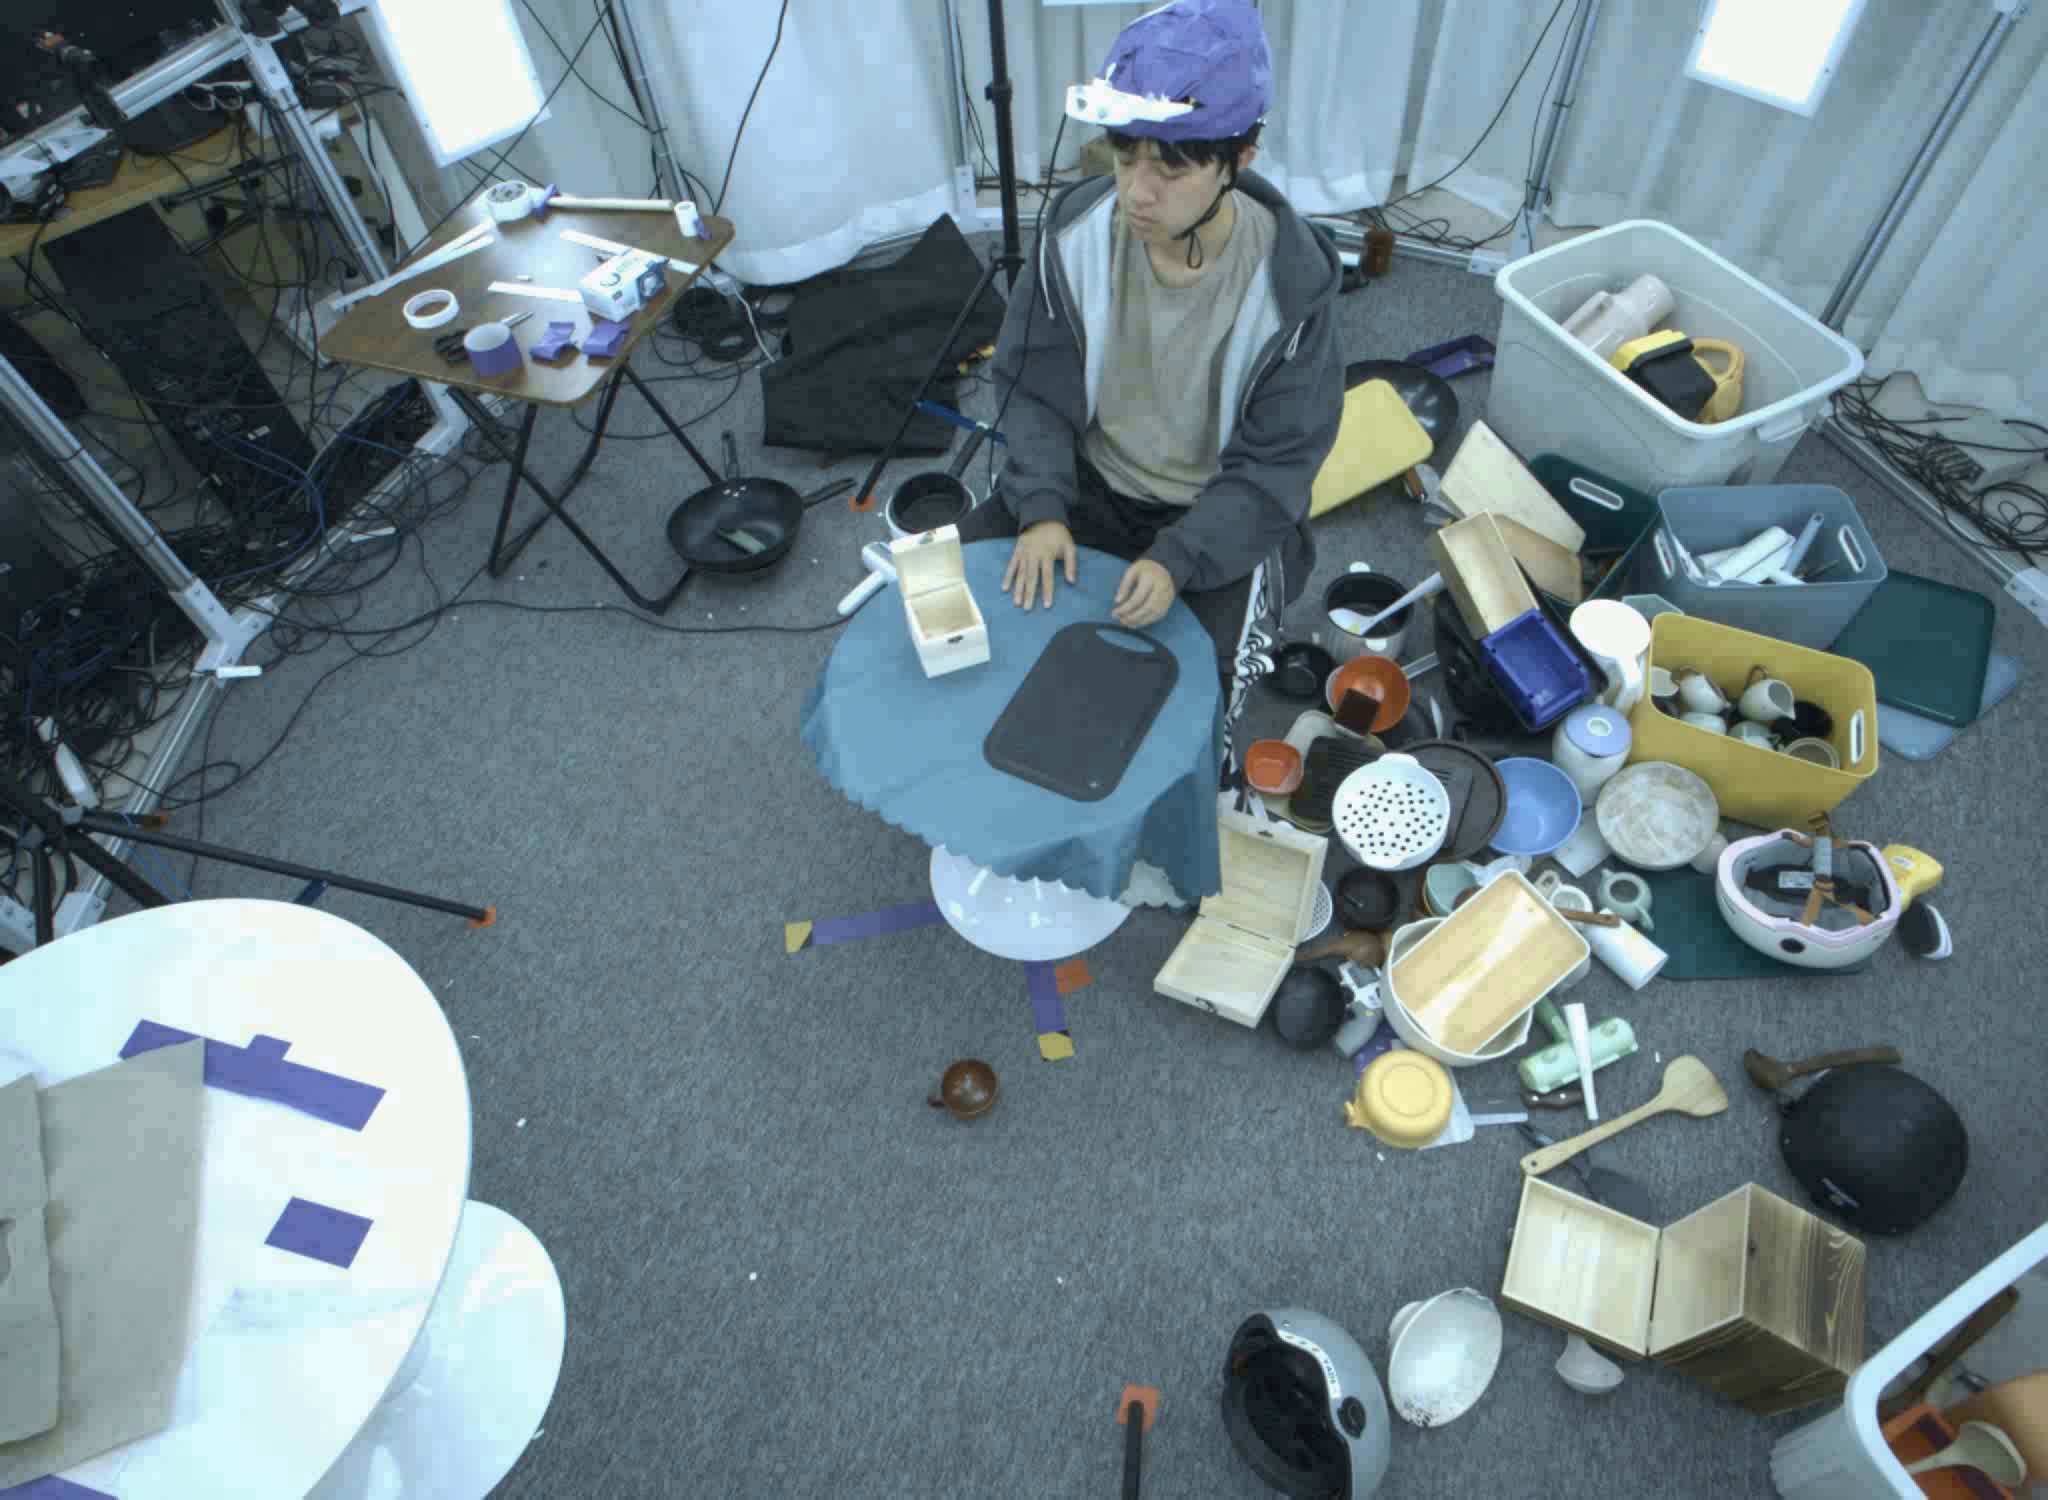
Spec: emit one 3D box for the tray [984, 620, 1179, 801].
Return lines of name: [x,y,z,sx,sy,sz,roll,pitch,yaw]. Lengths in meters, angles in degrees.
tray: [0.091,-0.072,1.834,0.208,0.010,0.326,23,59,17]

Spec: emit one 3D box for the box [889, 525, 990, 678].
box: [-0.126,-0.222,1.838,0.103,0.186,0.131,-19,54,-9]
